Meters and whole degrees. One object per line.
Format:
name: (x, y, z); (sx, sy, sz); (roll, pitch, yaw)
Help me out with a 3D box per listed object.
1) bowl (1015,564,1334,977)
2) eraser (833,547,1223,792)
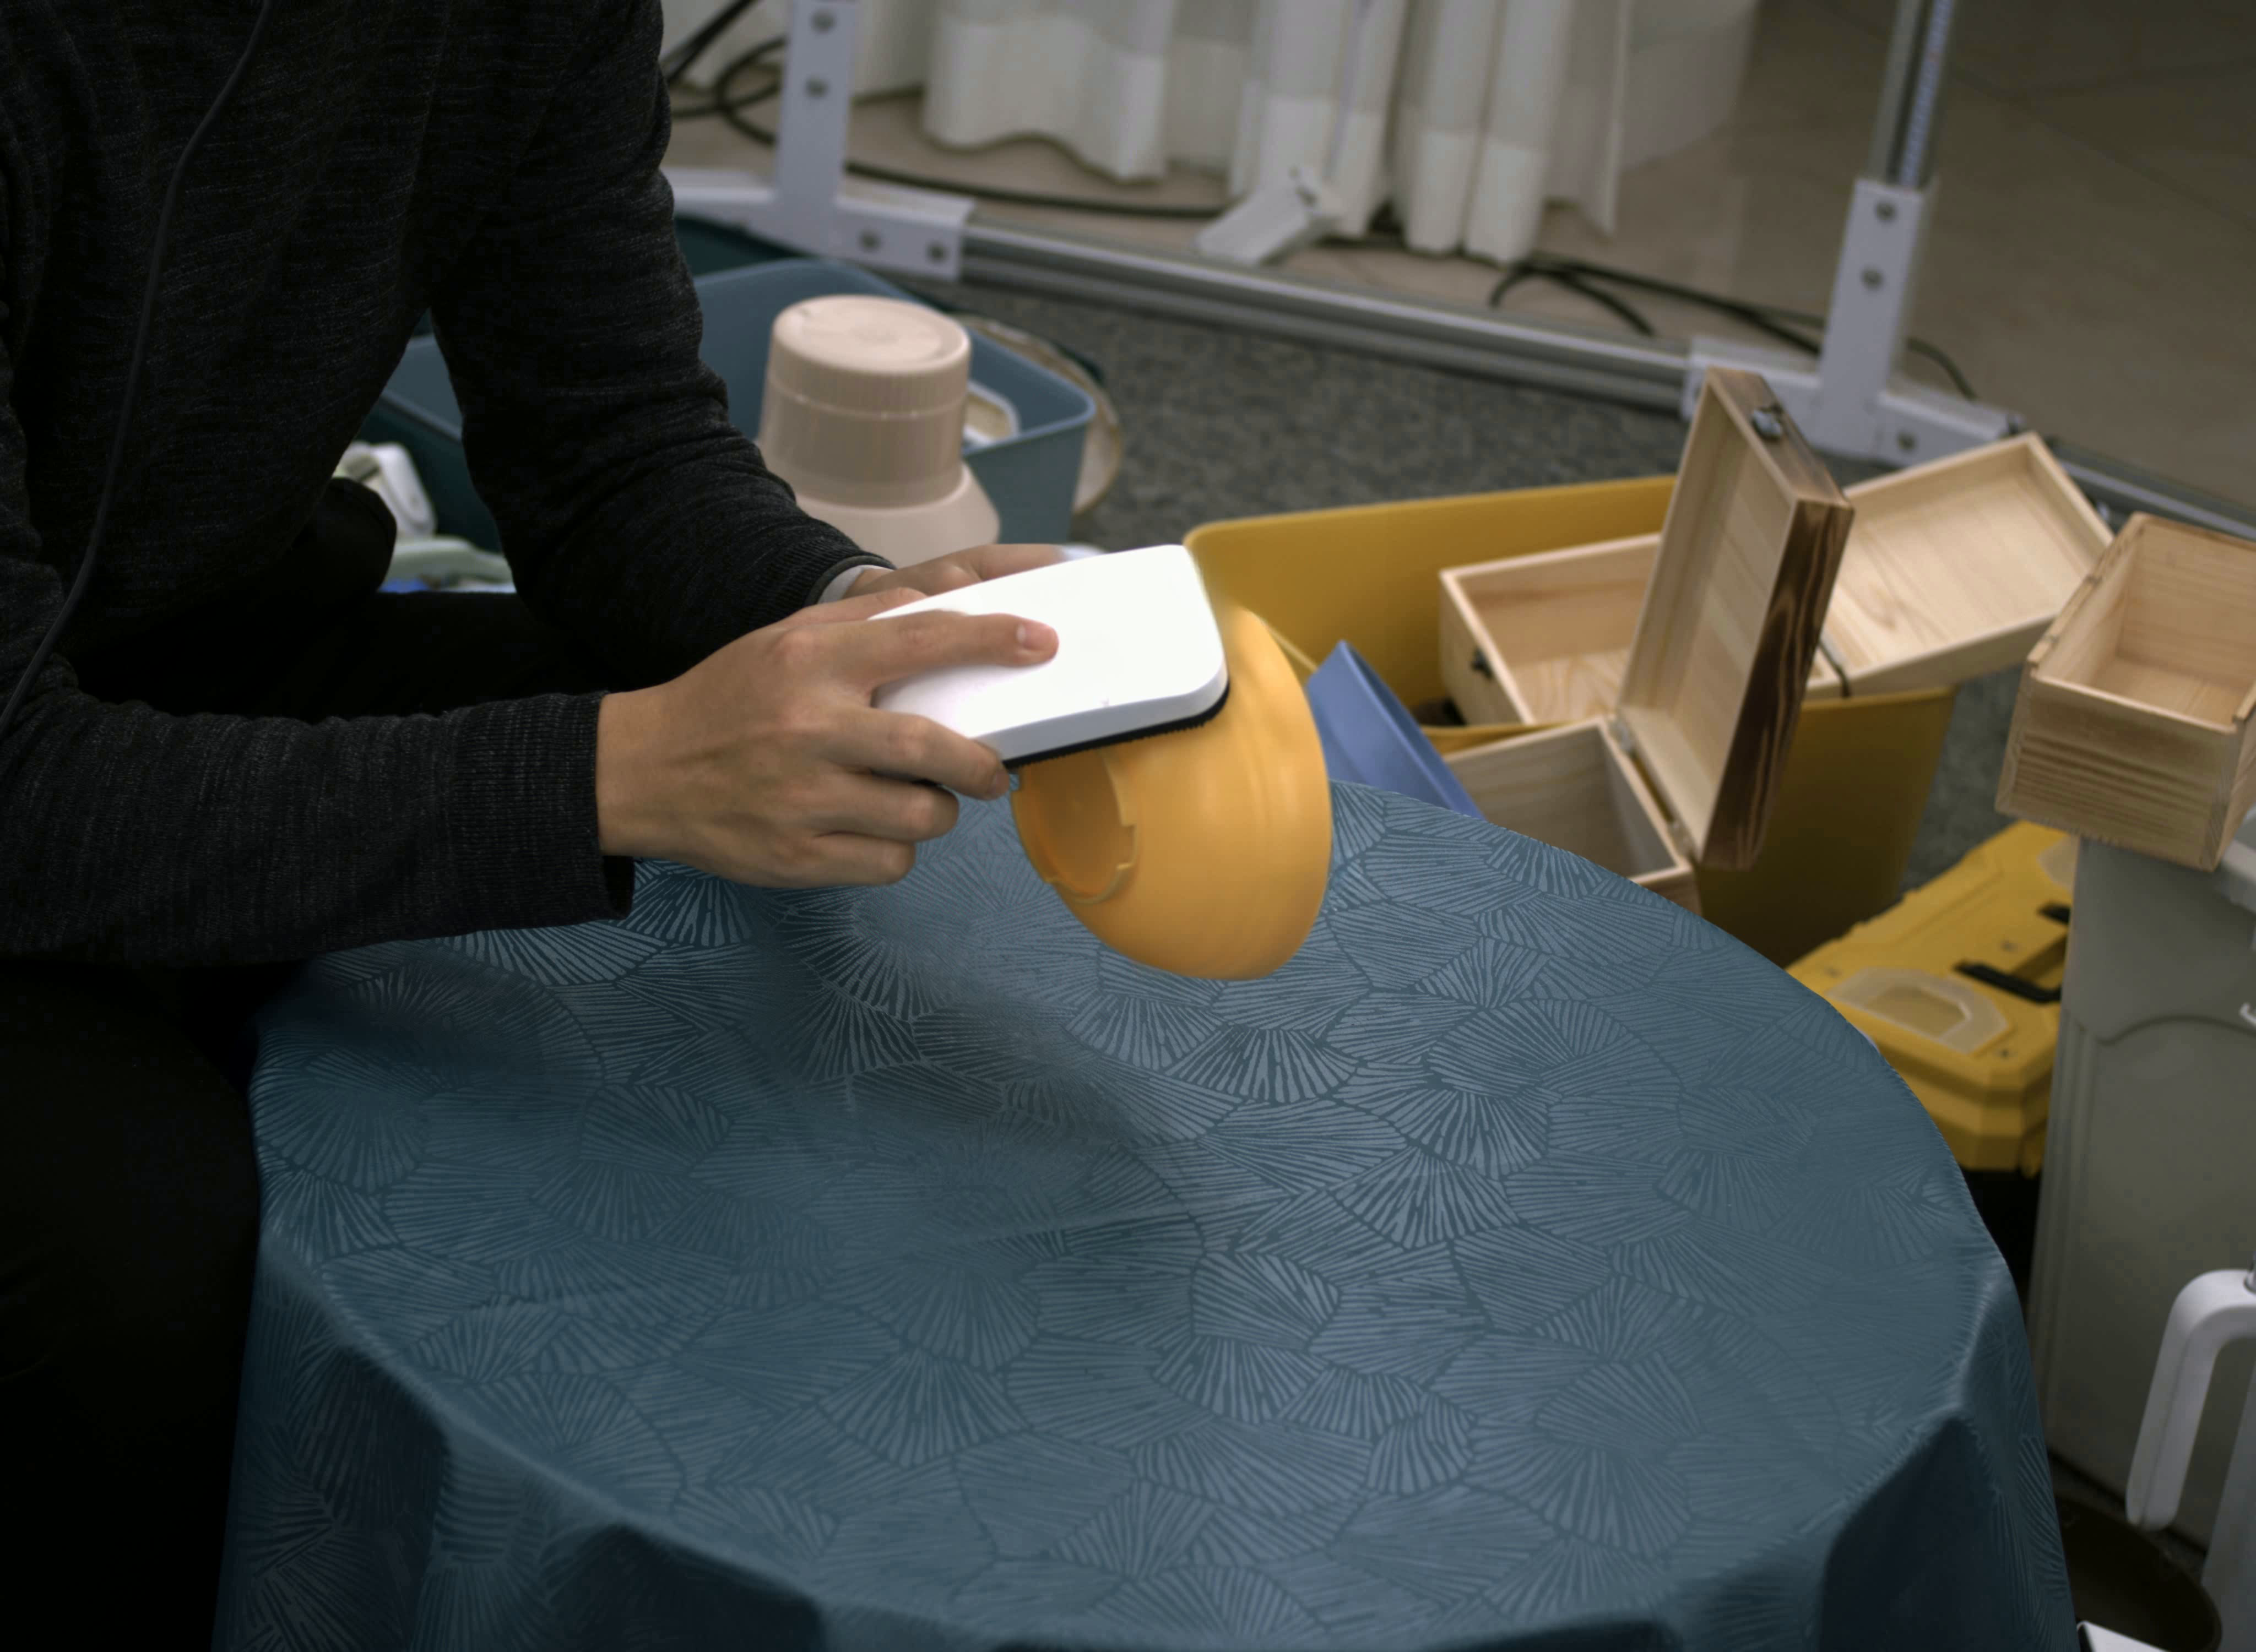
bowl: (0.004, -0.014, 1.806); (0.060, 0.145, 0.146); (-14, 33, -33)
eraser: (-0.033, -0.053, 1.765); (0.131, 0.034, 0.064); (-12, 54, 11)
